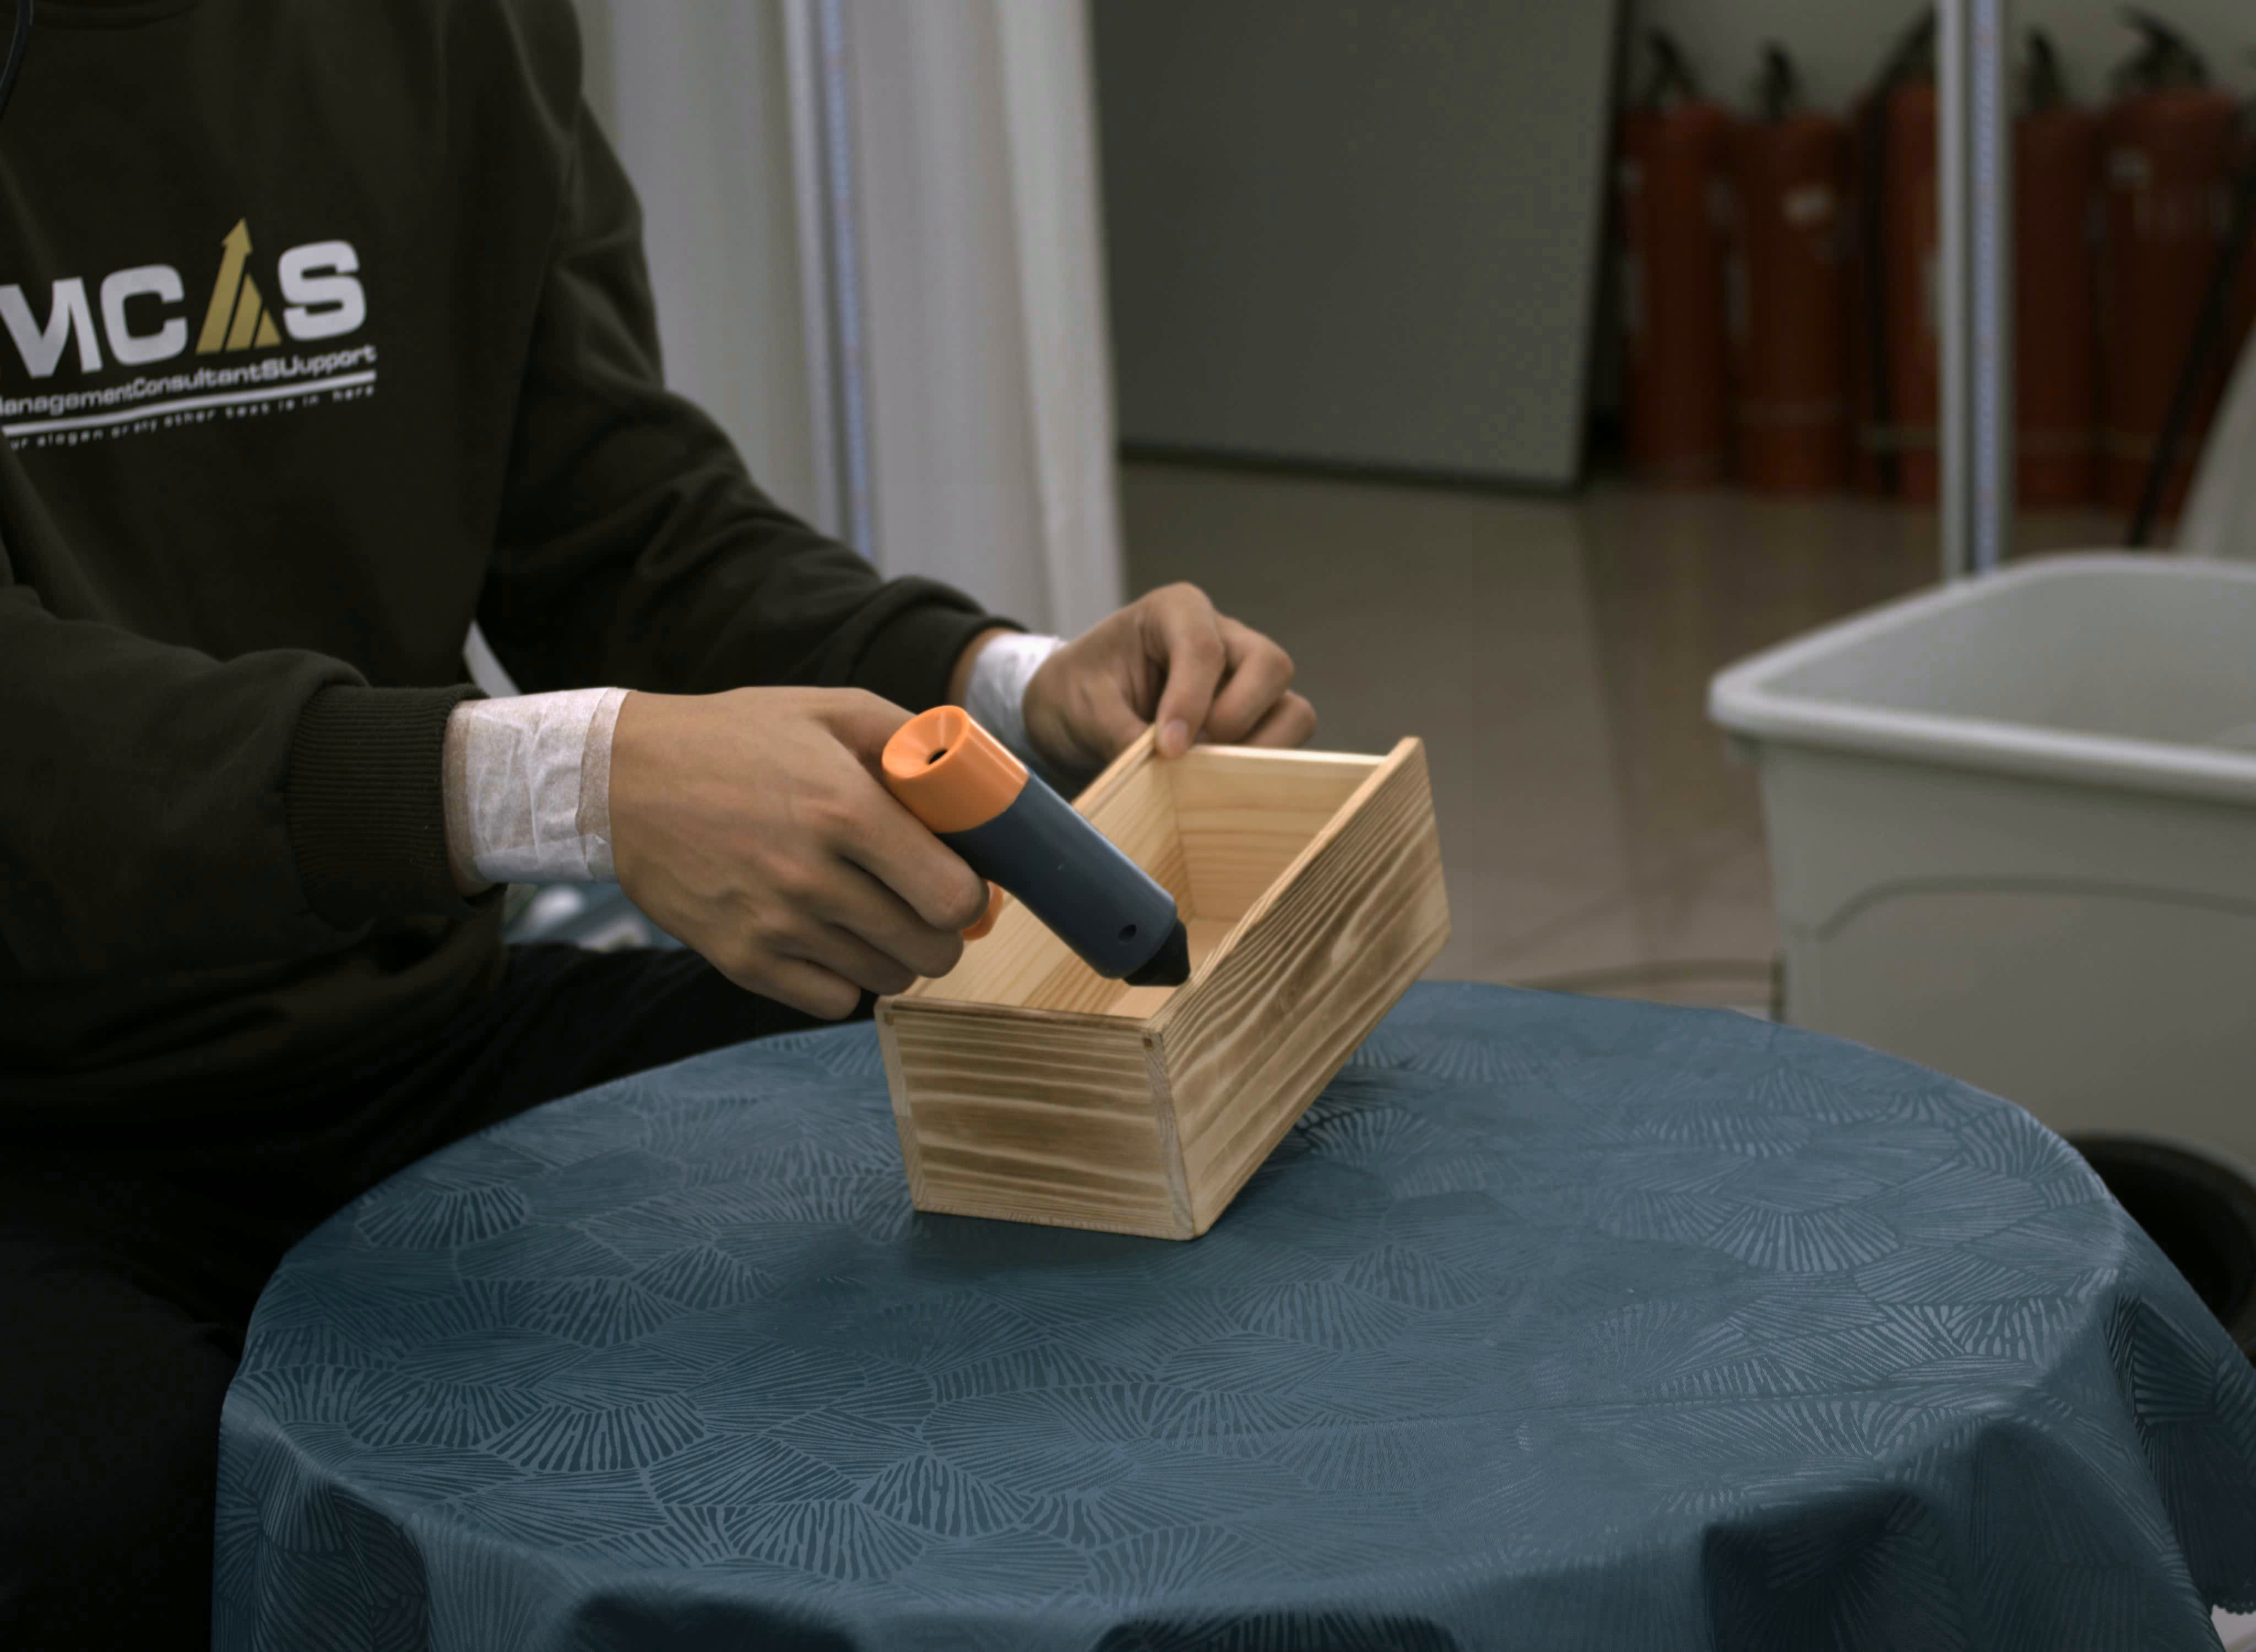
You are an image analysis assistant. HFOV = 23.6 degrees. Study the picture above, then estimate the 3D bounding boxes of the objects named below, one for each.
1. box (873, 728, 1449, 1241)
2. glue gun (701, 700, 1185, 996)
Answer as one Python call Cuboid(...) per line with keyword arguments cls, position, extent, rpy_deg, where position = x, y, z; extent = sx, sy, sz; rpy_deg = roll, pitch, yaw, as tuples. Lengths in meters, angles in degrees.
Cuboid(cls="box", position=(0.015, 0.049, 1.813), extent=(0.108, 0.081, 0.209), rpy_deg=(2, 28, 28))
Cuboid(cls="glue gun", position=(-0.058, 0.017, 1.725), extent=(0.140, 0.117, 0.041), rpy_deg=(-8, 38, 35))
